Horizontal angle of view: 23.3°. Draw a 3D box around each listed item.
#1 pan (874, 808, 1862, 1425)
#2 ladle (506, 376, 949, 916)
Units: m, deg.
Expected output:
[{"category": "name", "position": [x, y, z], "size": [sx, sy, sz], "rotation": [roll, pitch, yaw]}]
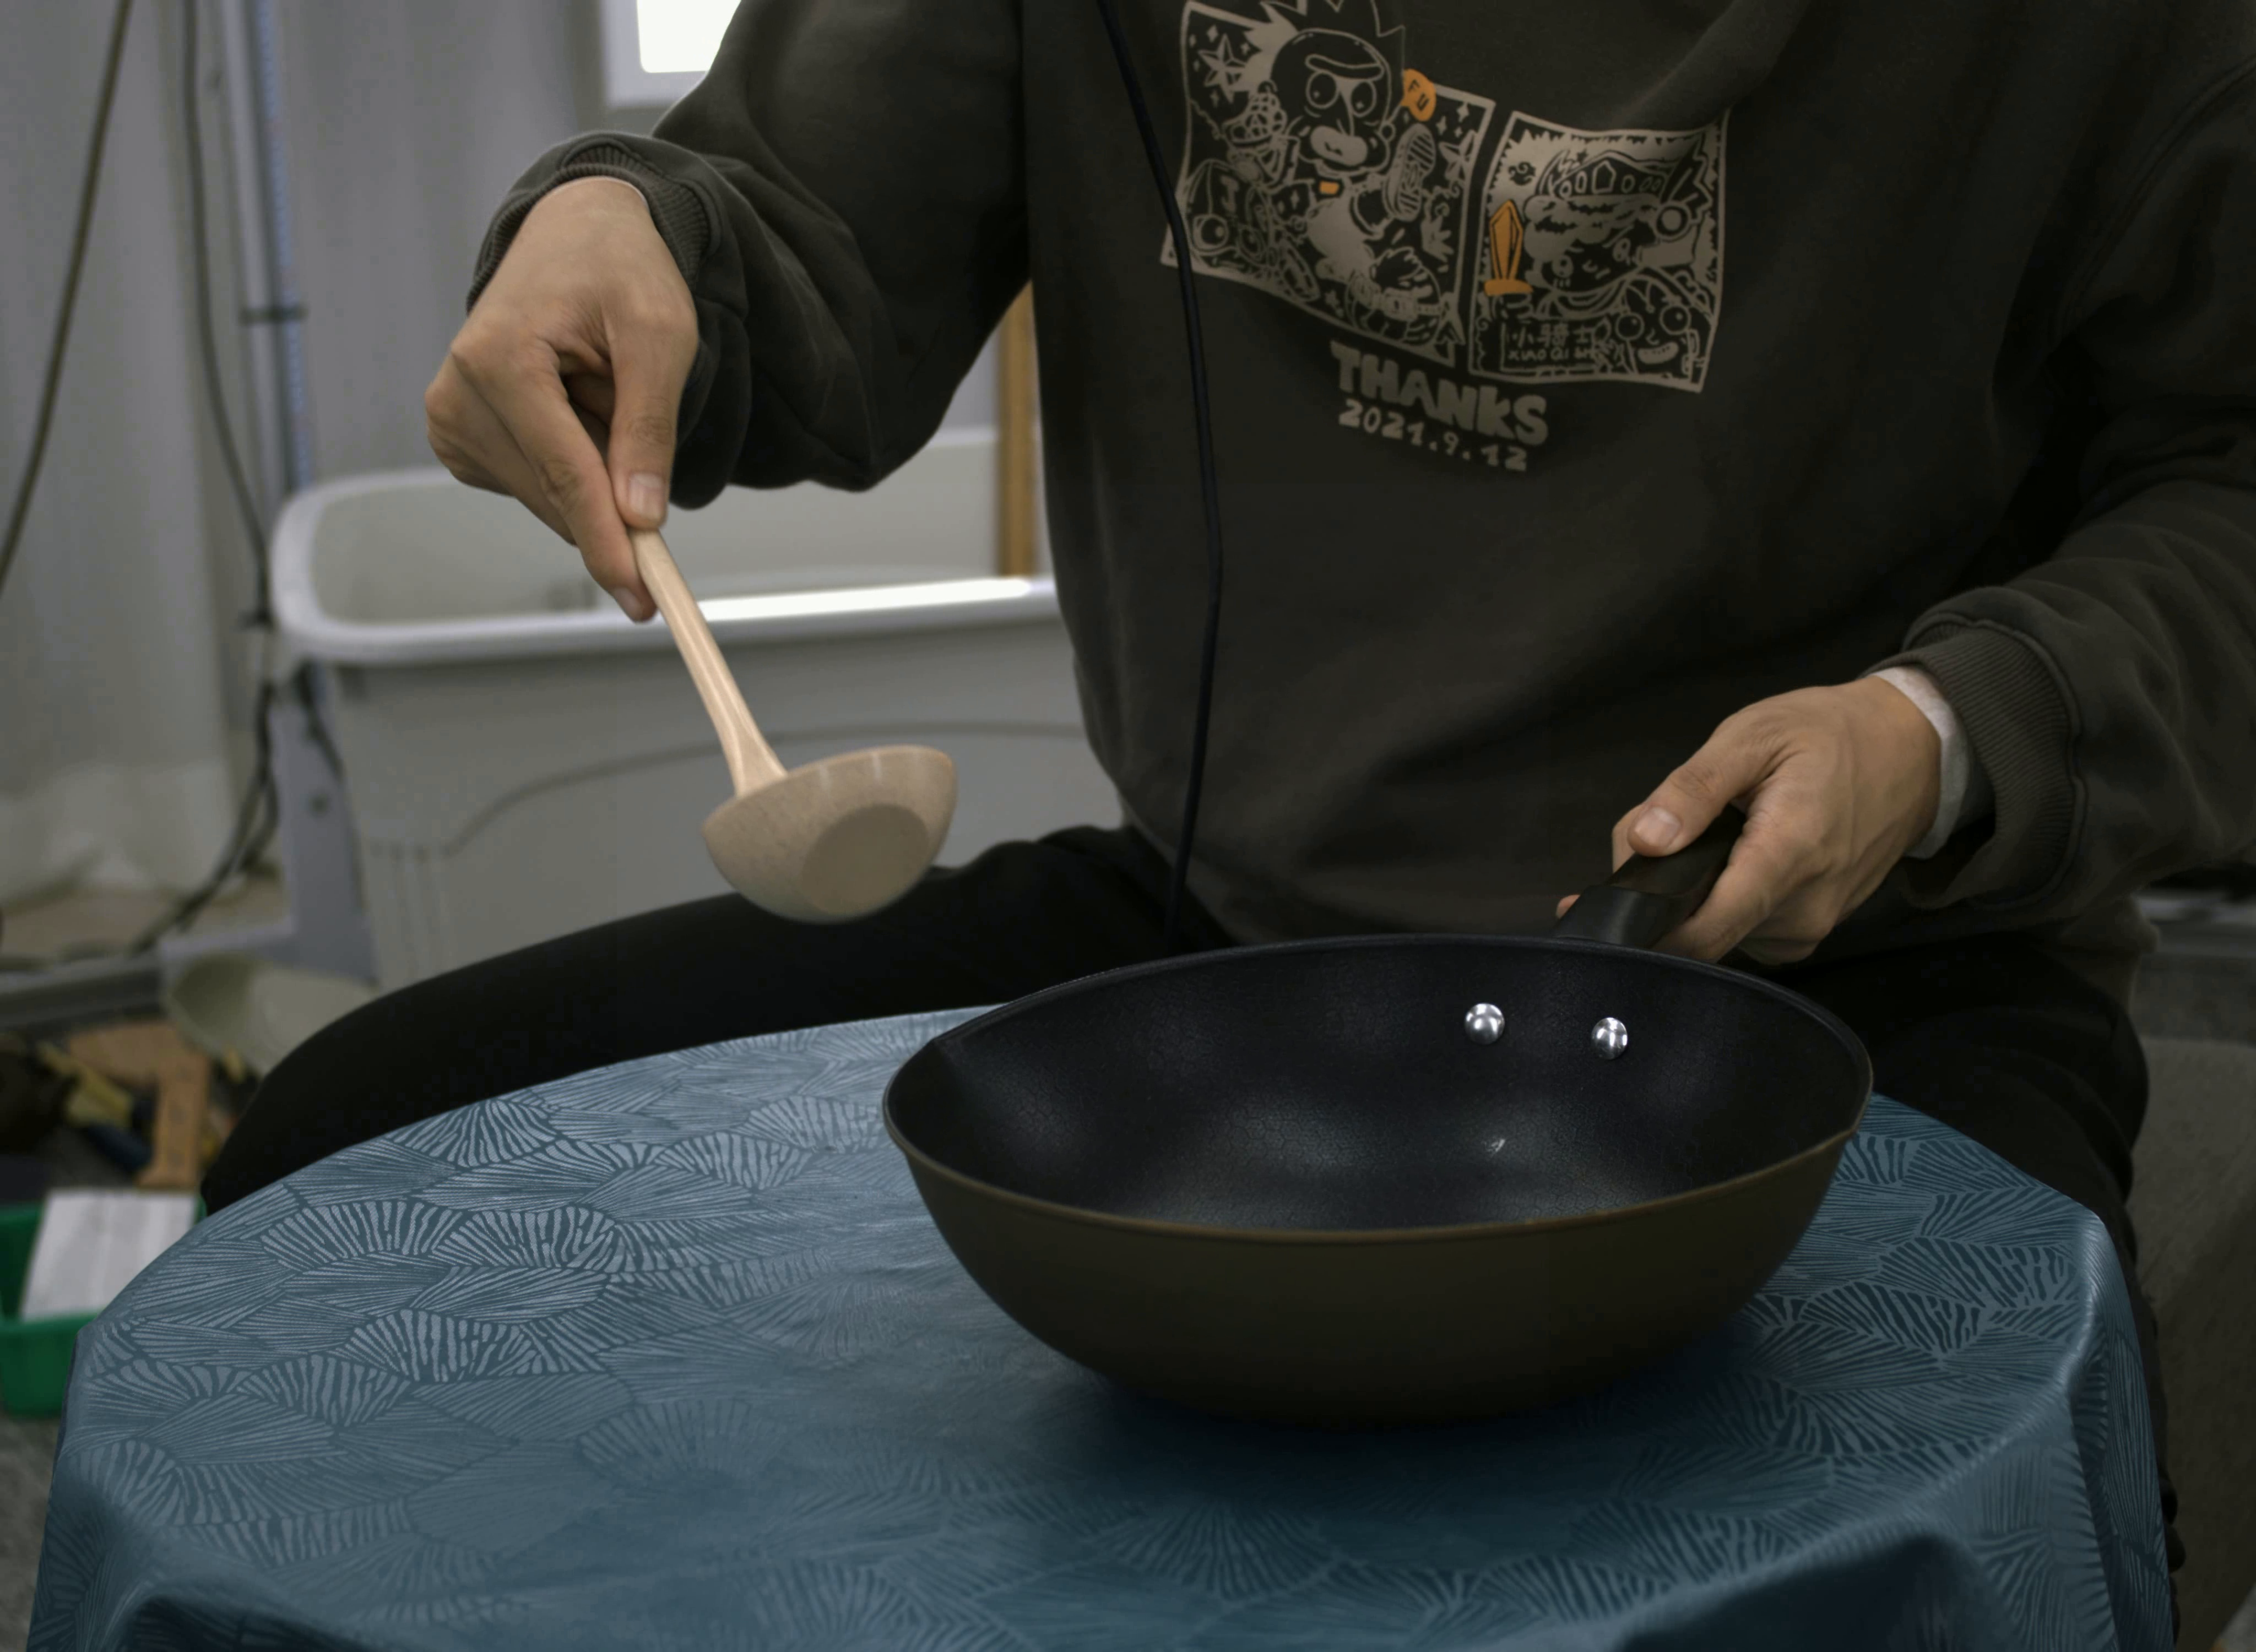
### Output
[{"category": "pan", "position": [0.110, 0.085, 1.650], "size": [0.288, 0.086, 0.464], "rotation": [4, 16, 26]}, {"category": "ladle", "position": [-0.128, -0.076, 1.604], "size": [0.072, 0.072, 0.258], "rotation": [-14, 50, -23]}]
